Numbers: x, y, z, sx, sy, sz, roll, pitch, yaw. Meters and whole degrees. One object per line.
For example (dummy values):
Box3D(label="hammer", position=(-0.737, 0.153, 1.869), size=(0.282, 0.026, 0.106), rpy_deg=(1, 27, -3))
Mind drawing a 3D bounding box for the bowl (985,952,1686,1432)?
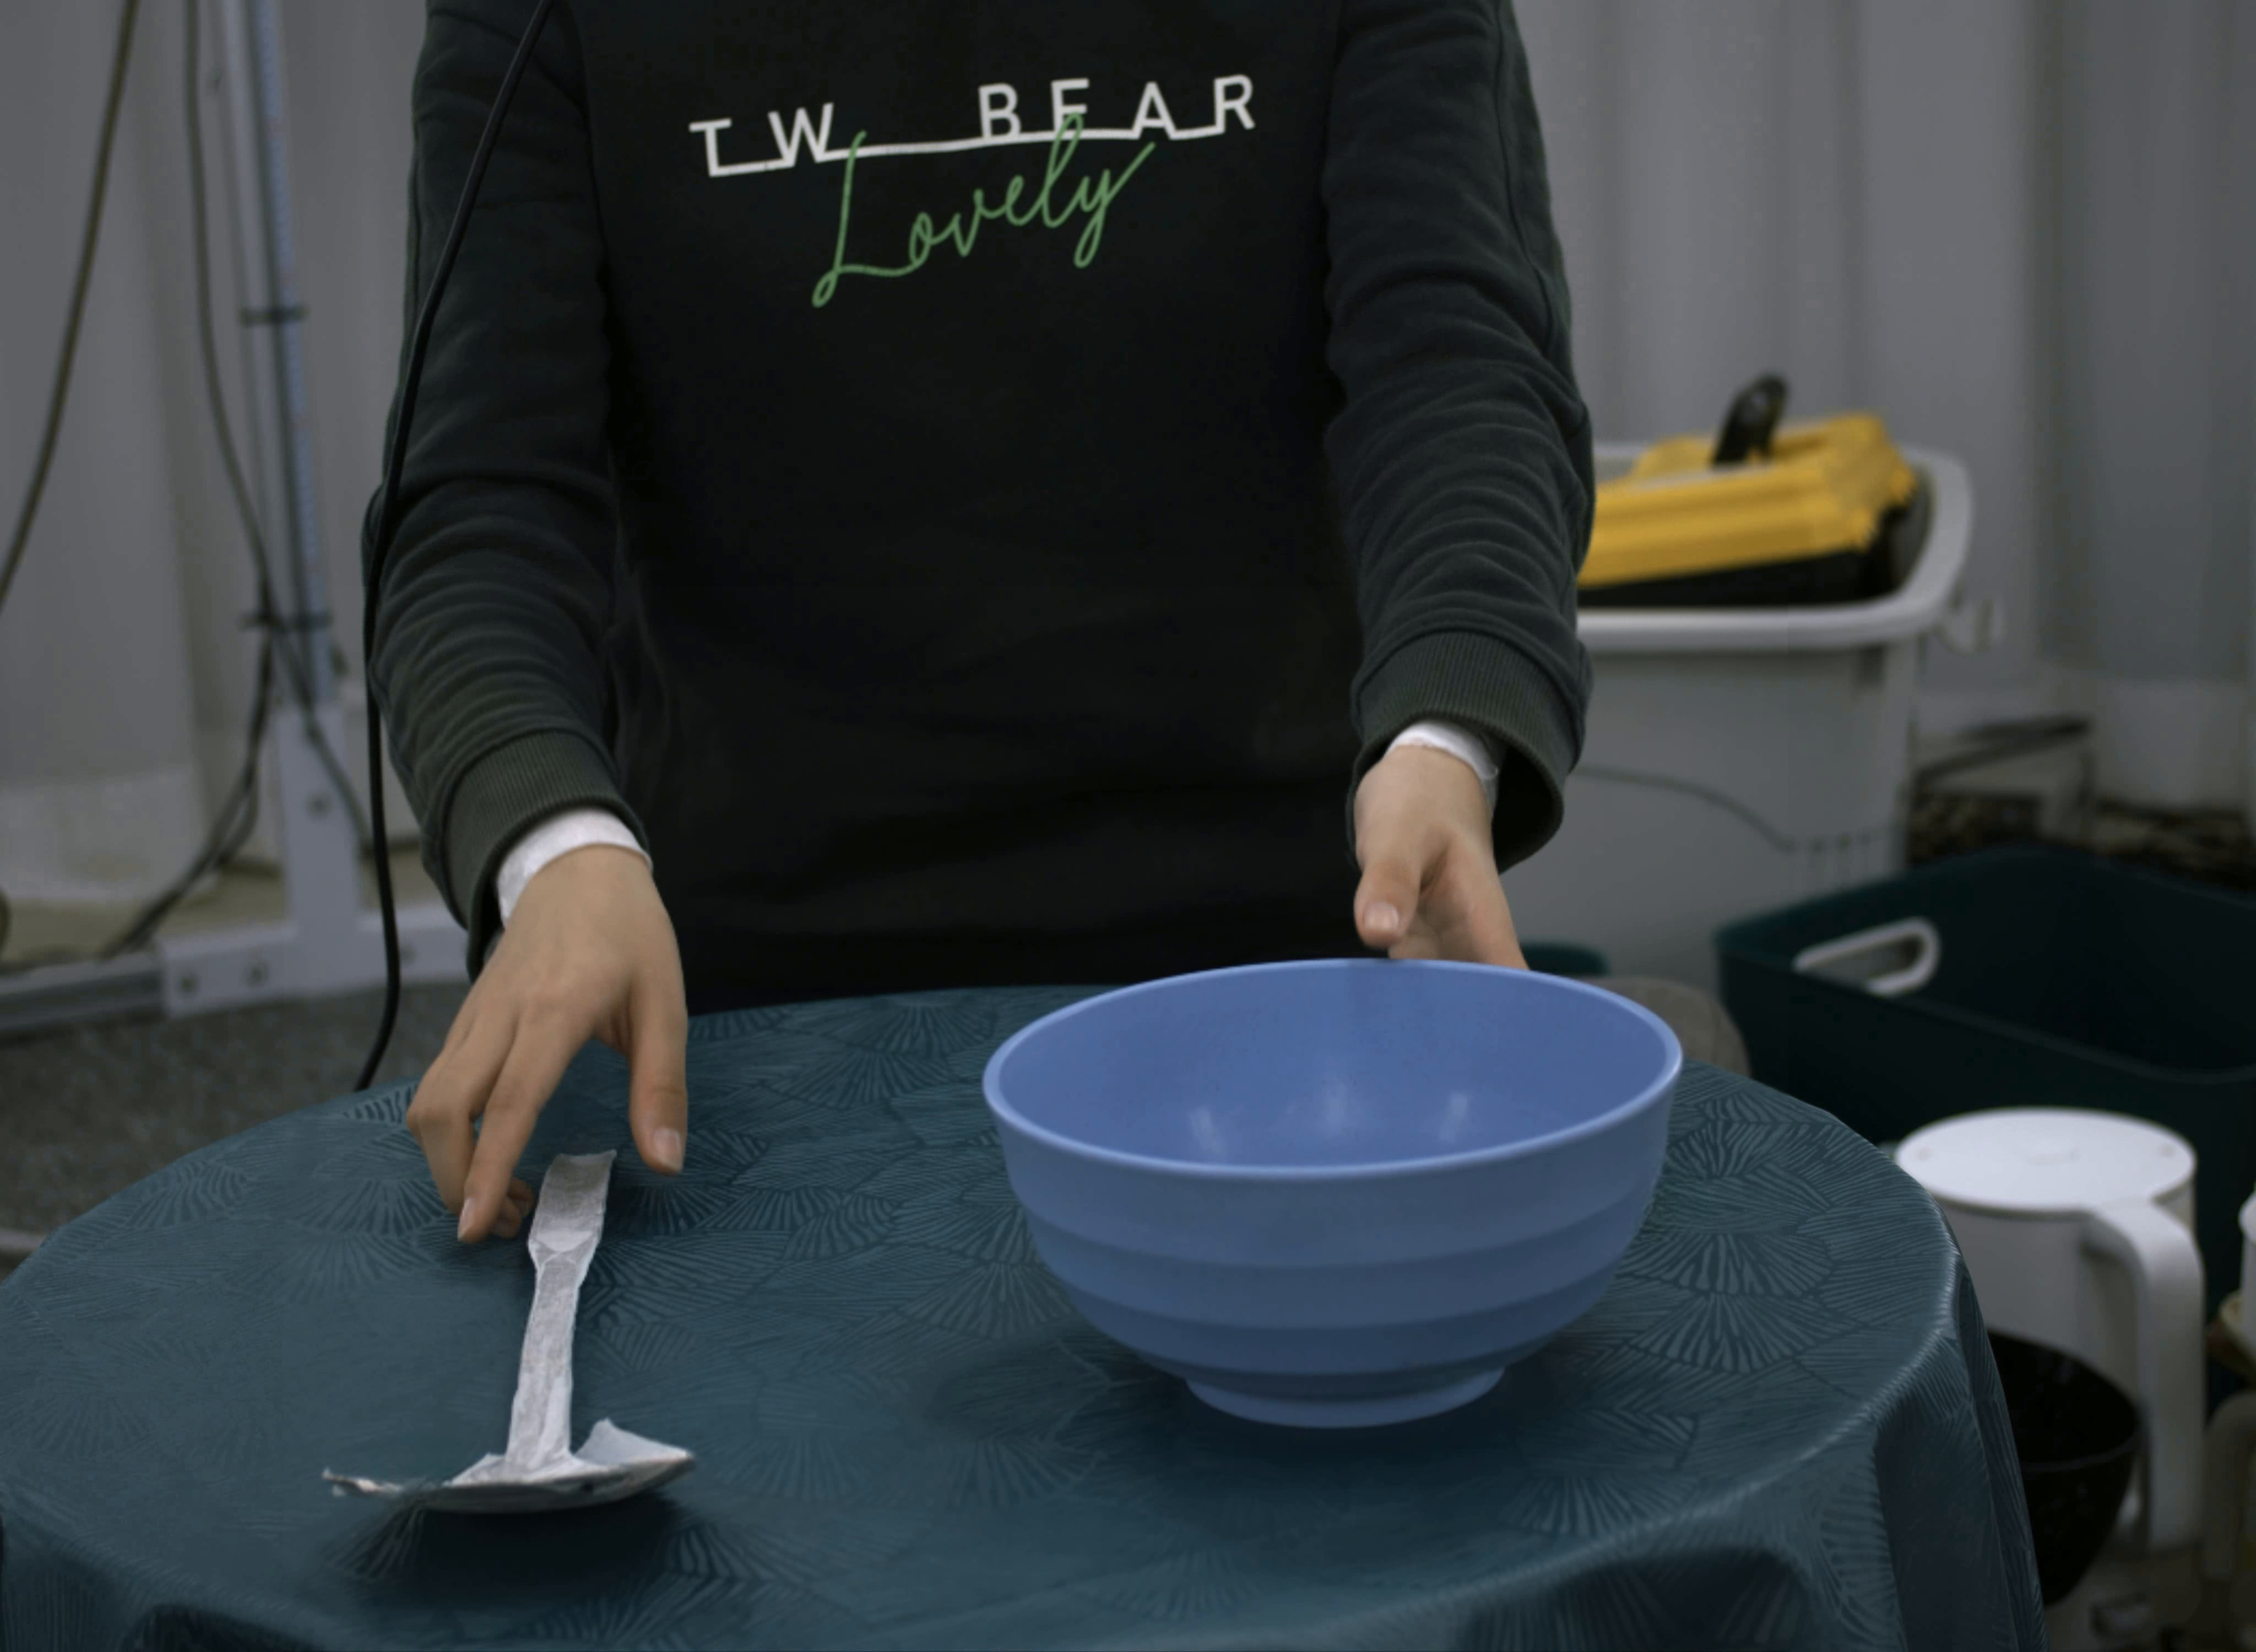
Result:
Box3D(label="bowl", position=(0.060, 0.109, 1.539), size=(0.196, 0.095, 0.198), rpy_deg=(-3, 16, 0))

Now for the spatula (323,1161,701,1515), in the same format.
Box3D(label="spatula", position=(-0.163, 0.139, 1.580), size=(0.098, 0.044, 0.367), rpy_deg=(-5, 15, 0))
